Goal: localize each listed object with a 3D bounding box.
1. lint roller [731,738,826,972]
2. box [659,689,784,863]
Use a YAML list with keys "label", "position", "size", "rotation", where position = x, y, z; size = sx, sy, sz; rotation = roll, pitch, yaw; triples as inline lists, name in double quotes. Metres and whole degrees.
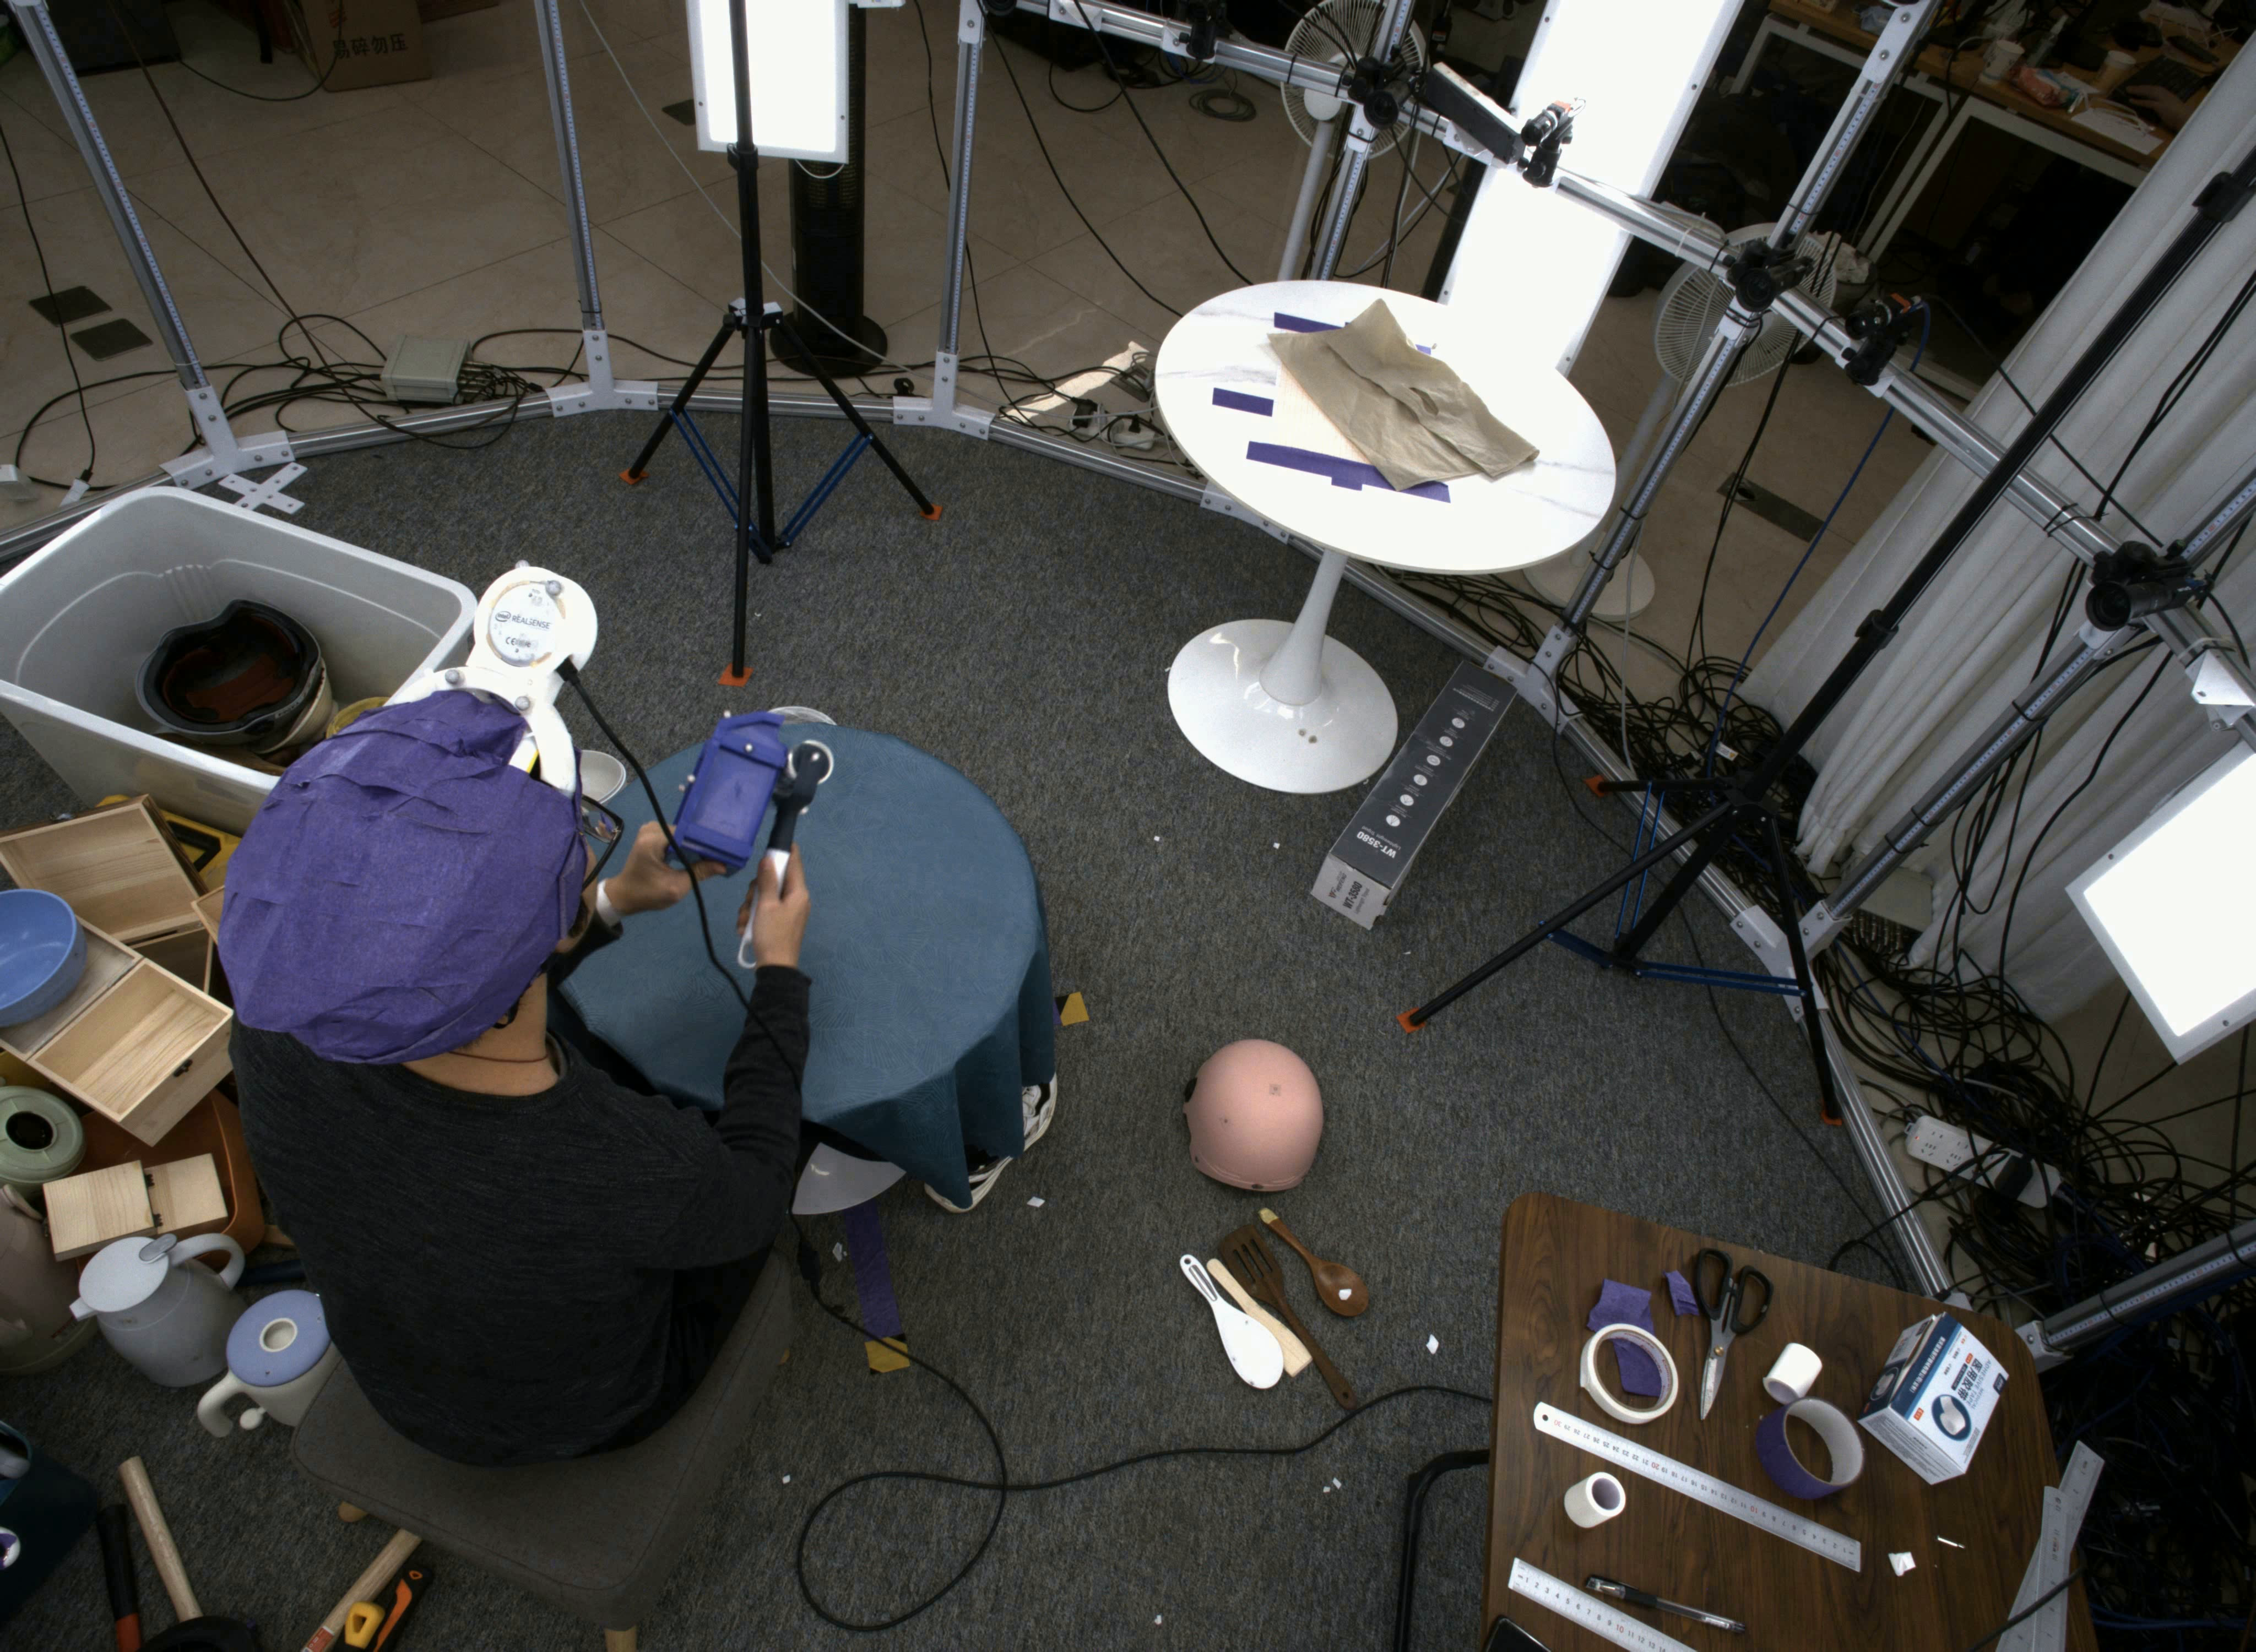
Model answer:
- label: "lint roller"
  position: [-0.389, 0.036, 1.419]
  size: [0.051, 0.173, 0.248]
  rotation: [12, 82, -23]
- label: "box"
  position: [-0.433, -0.054, 1.386]
  size: [0.083, 0.122, 0.179]
  rotation: [19, 75, -21]
